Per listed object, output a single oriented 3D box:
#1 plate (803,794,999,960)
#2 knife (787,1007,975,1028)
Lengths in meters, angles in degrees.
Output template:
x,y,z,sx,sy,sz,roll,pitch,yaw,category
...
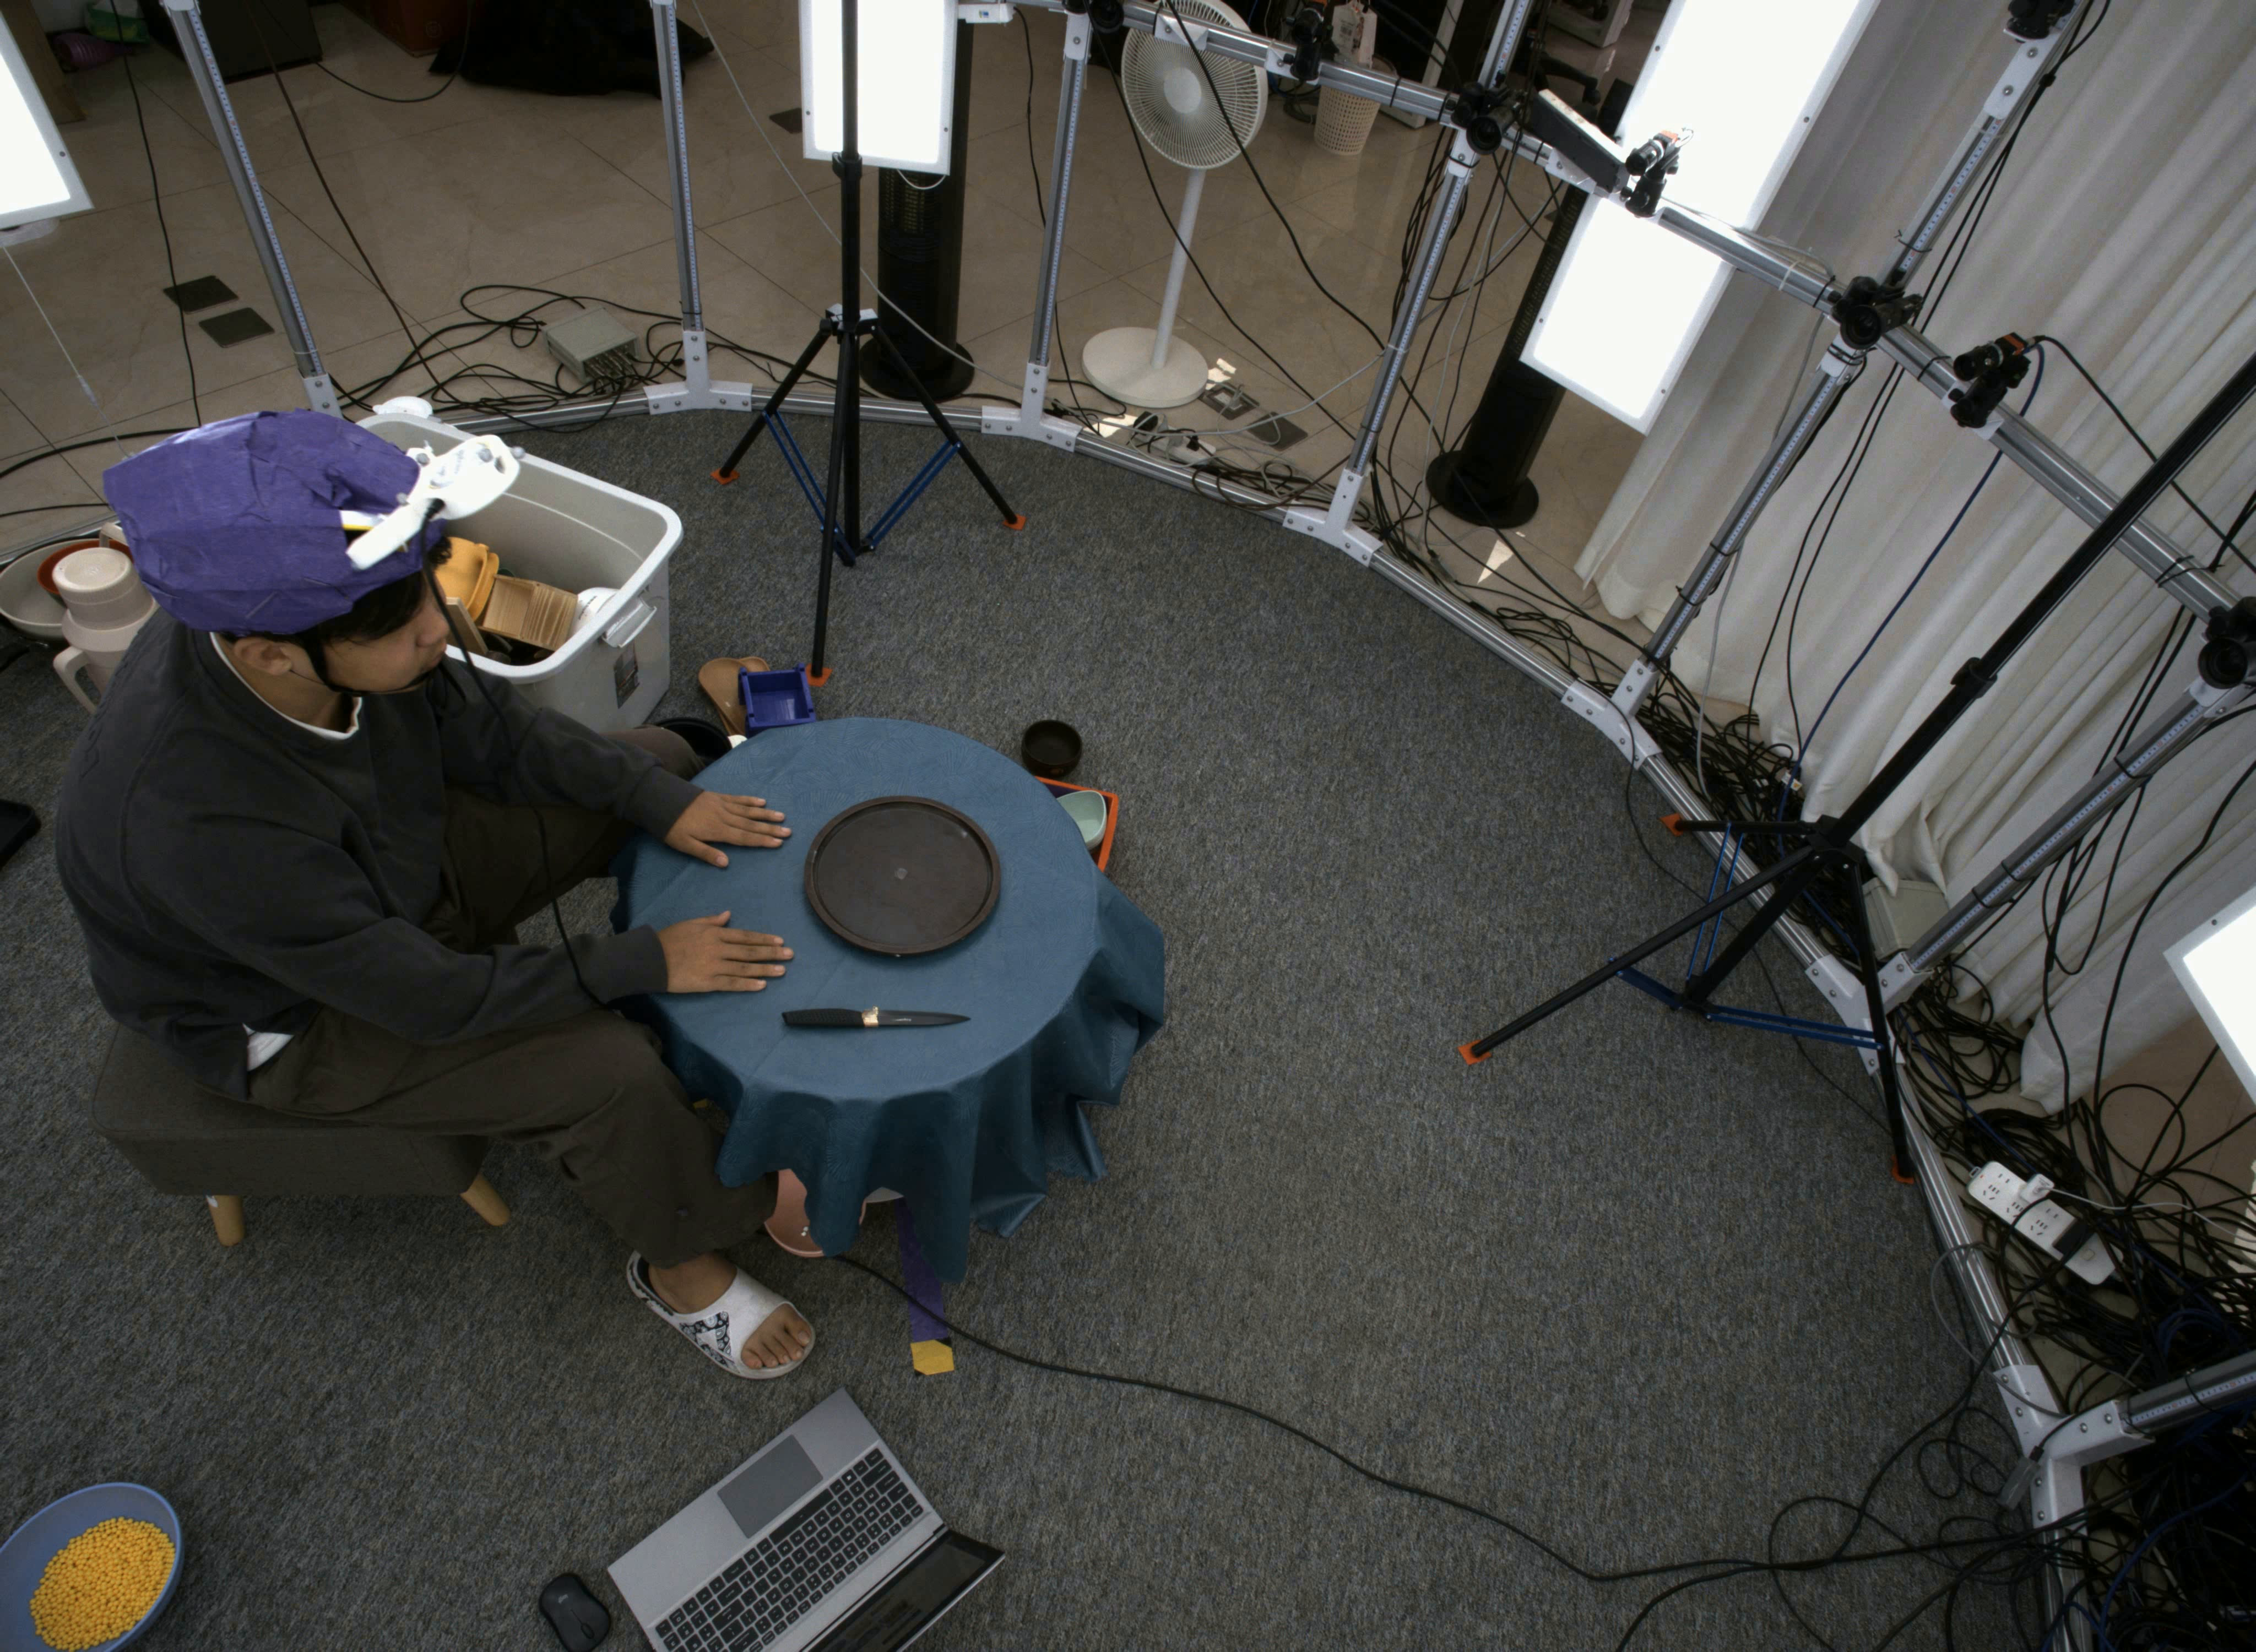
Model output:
x,y,z,sx,sy,sz,roll,pitch,yaw,category
-0.293,0.063,1.691,0.254,0.029,0.250,7,54,-8,plate
-0.298,0.229,1.574,0.226,0.017,0.025,1,48,-14,knife
